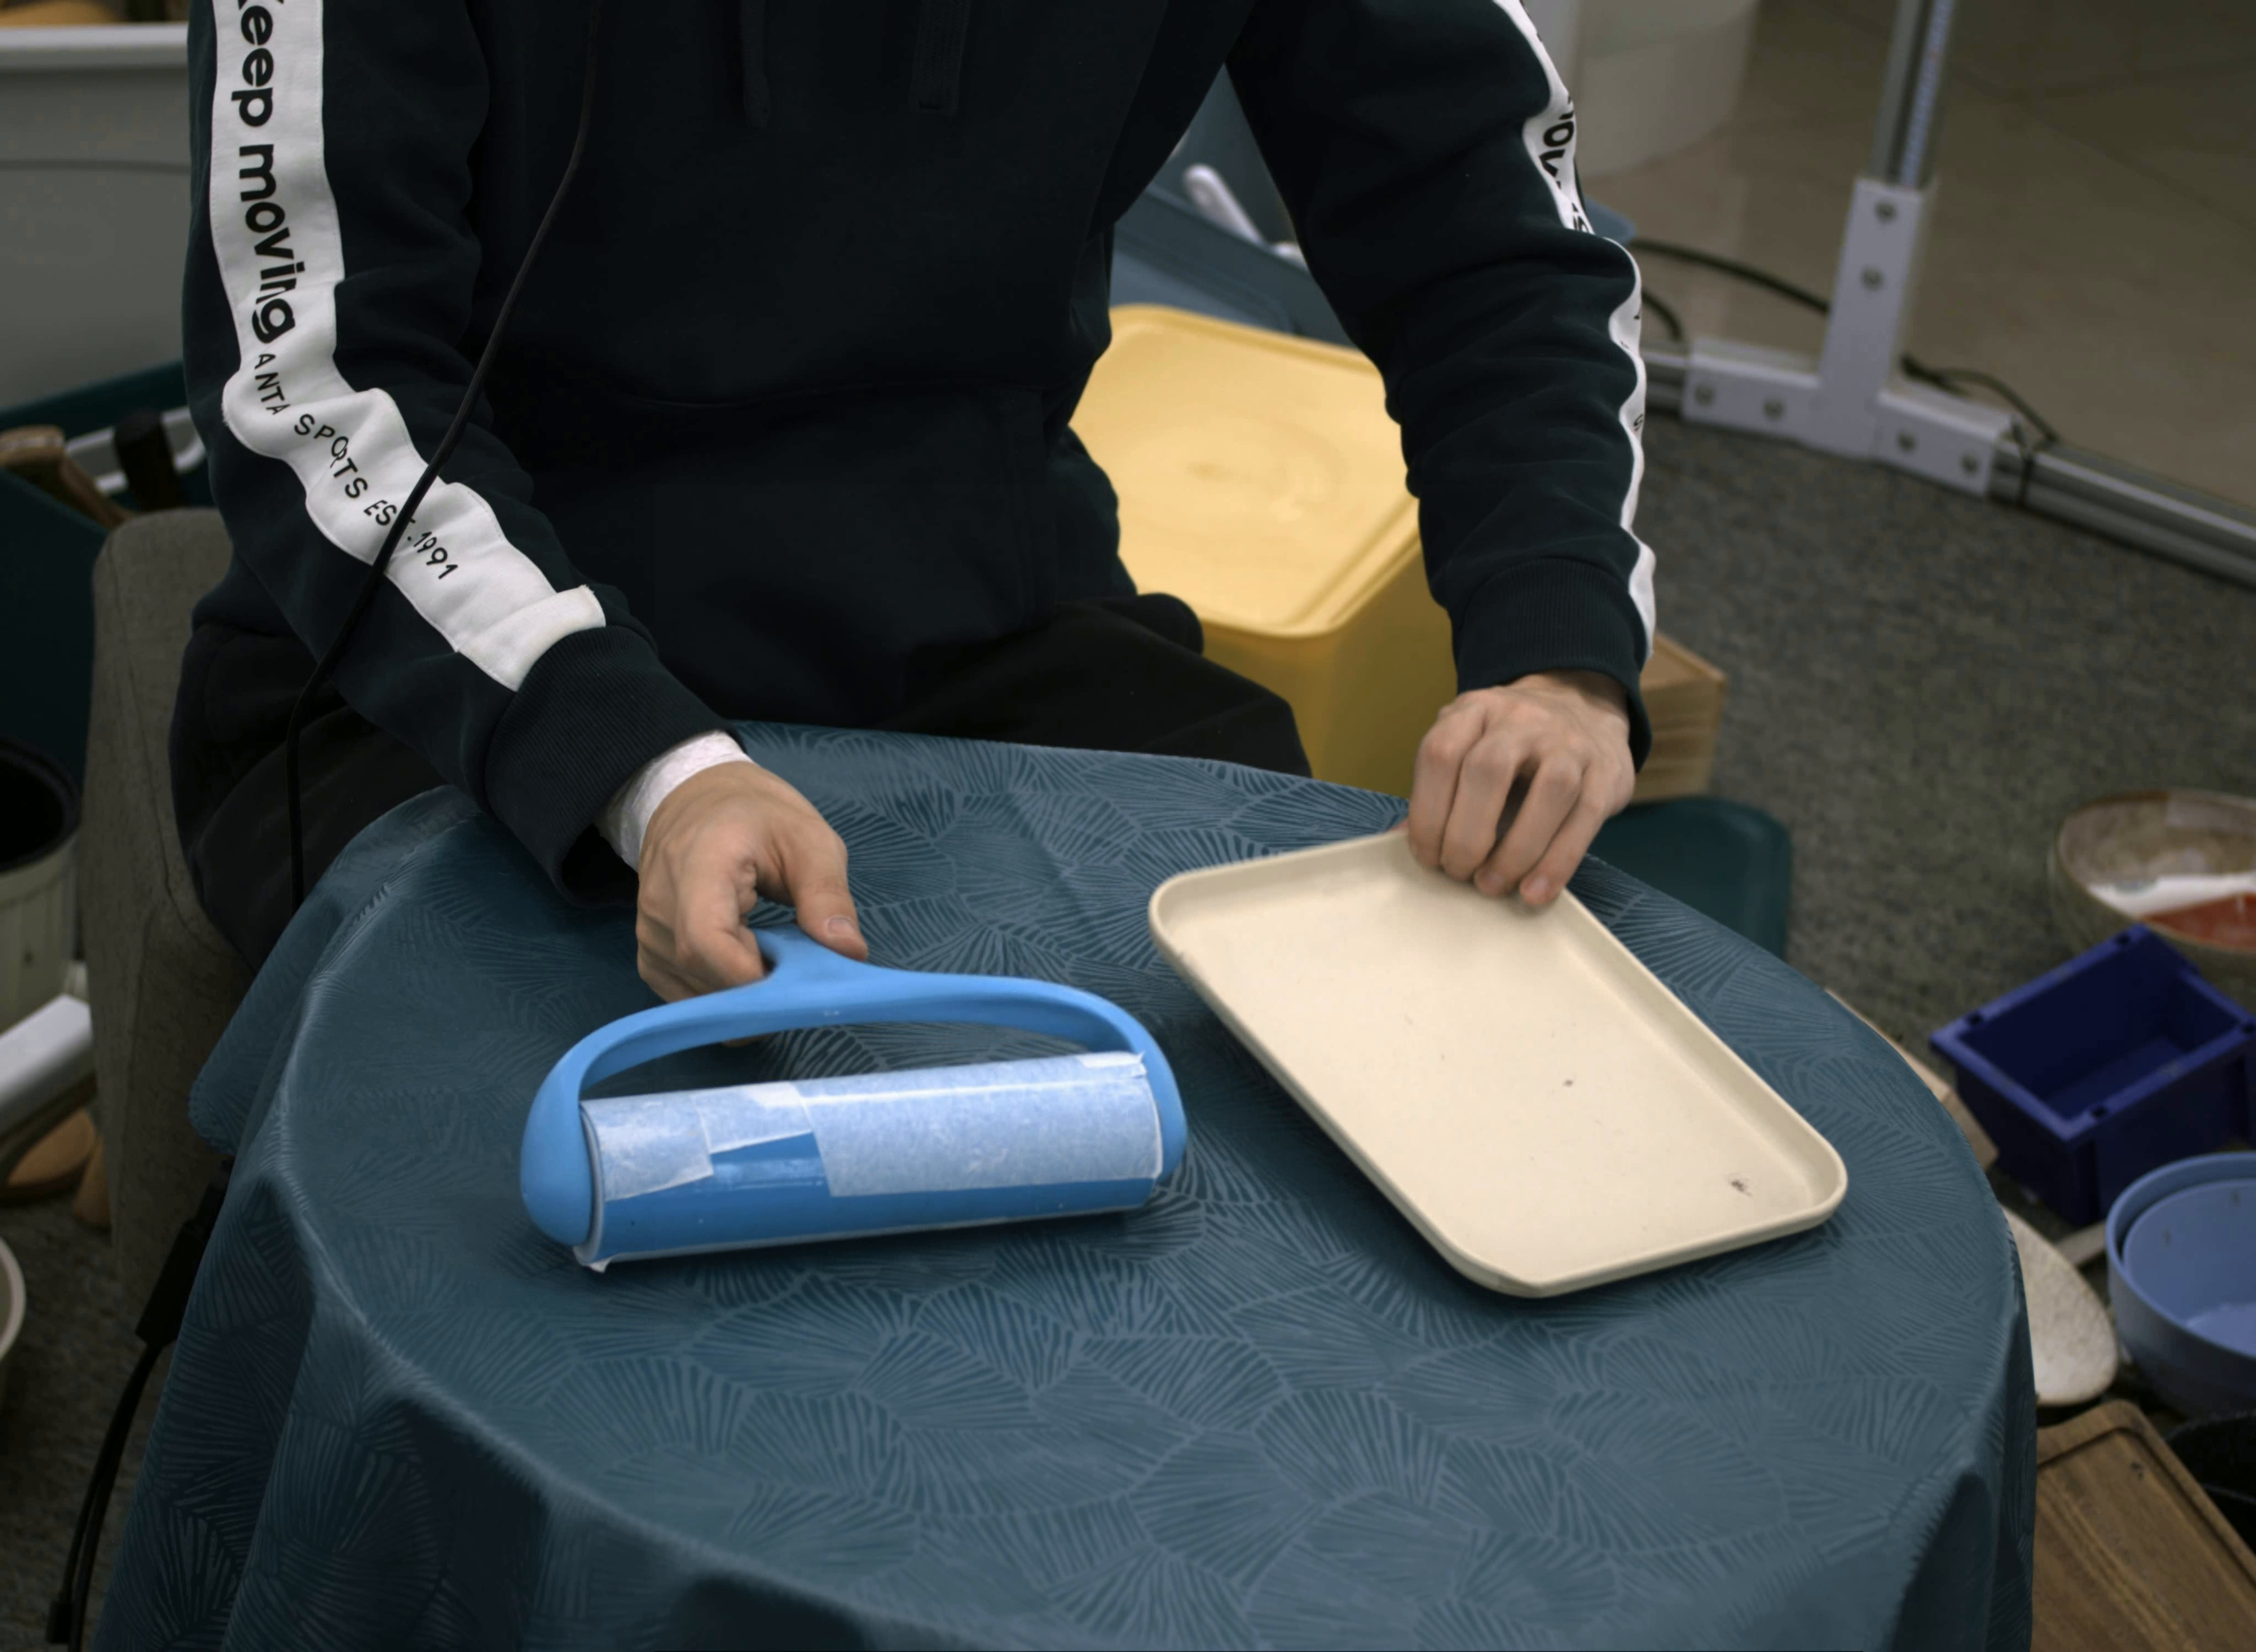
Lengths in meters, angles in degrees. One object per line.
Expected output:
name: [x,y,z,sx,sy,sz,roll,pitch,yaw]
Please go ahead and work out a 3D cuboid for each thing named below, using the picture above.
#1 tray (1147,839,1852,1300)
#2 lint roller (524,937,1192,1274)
tray: [0.126,0.083,1.858,0.170,0.017,0.242,-10,38,-33]
lint roller: [-0.108,0.076,1.792,0.227,0.067,0.182,-7,36,-21]
